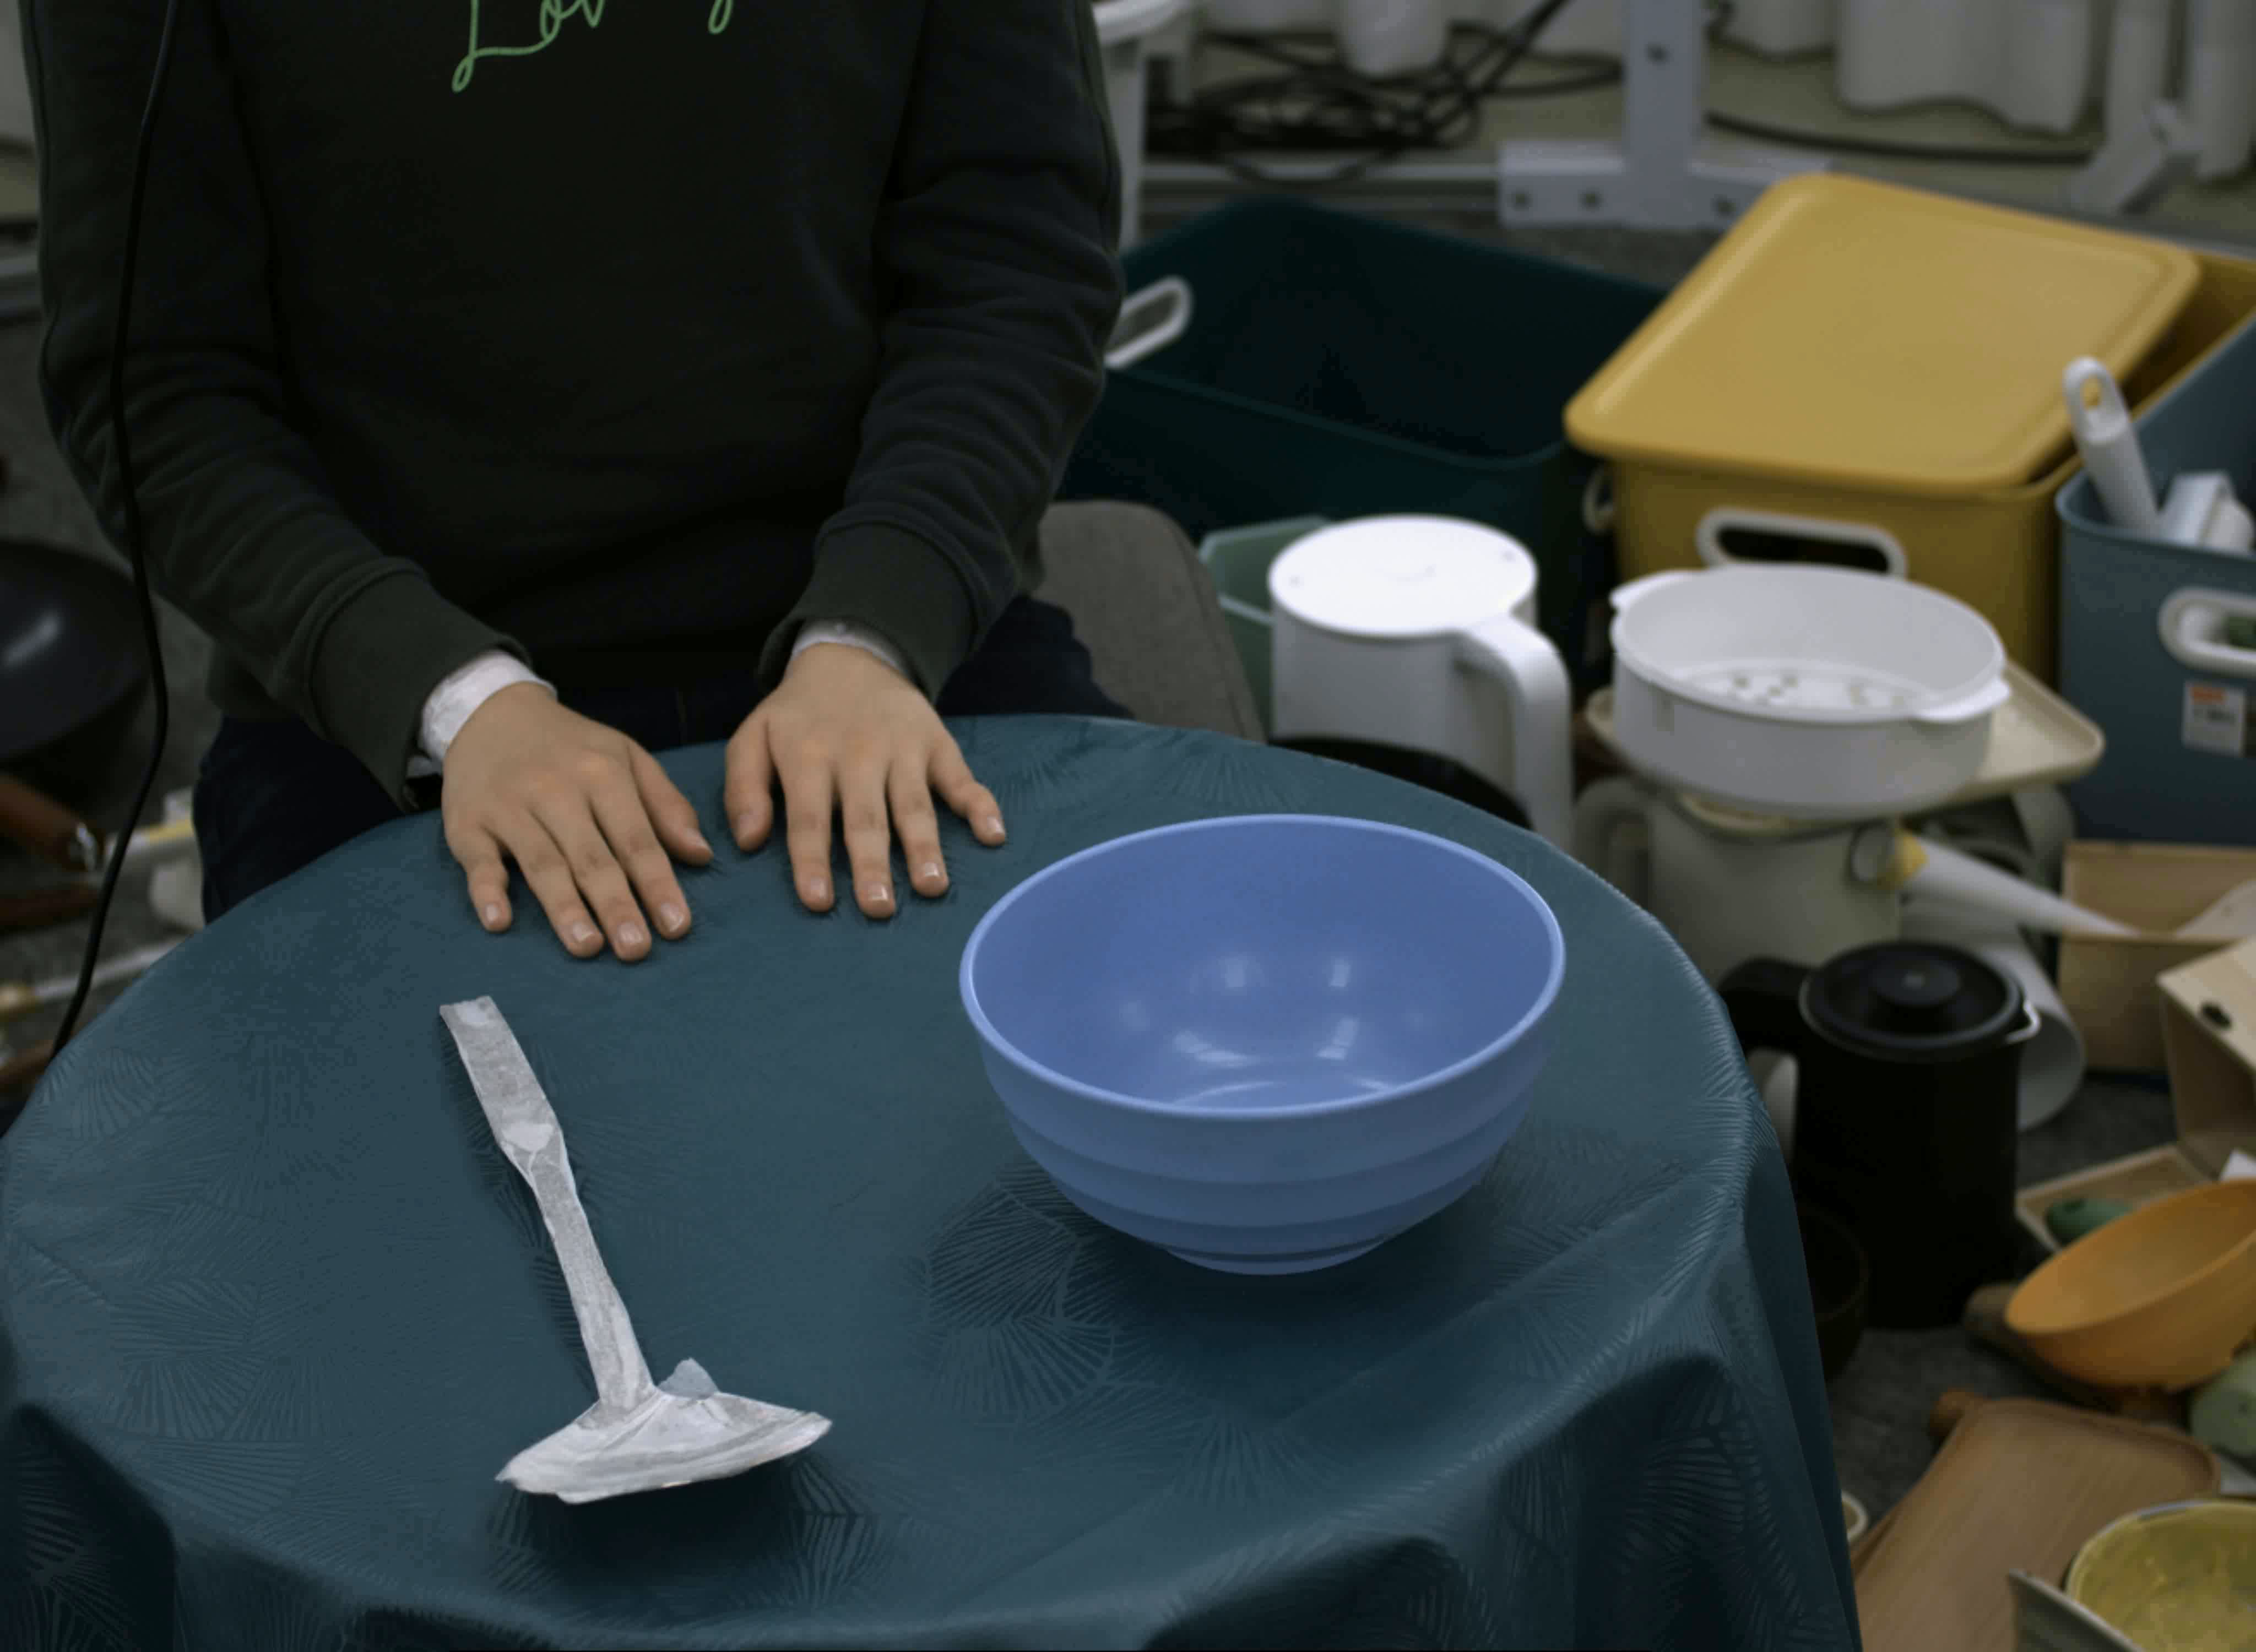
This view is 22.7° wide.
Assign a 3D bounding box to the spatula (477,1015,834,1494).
[{"bbox_3d":[-0.176,0.131,1.820,0.099,0.044,0.368,-11,28,-12],"label":"spatula"}]

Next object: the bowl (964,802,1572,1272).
[{"bbox_3d":[0.046,0.081,1.830,0.195,0.094,0.199,-1,29,1],"label":"bowl"}]
